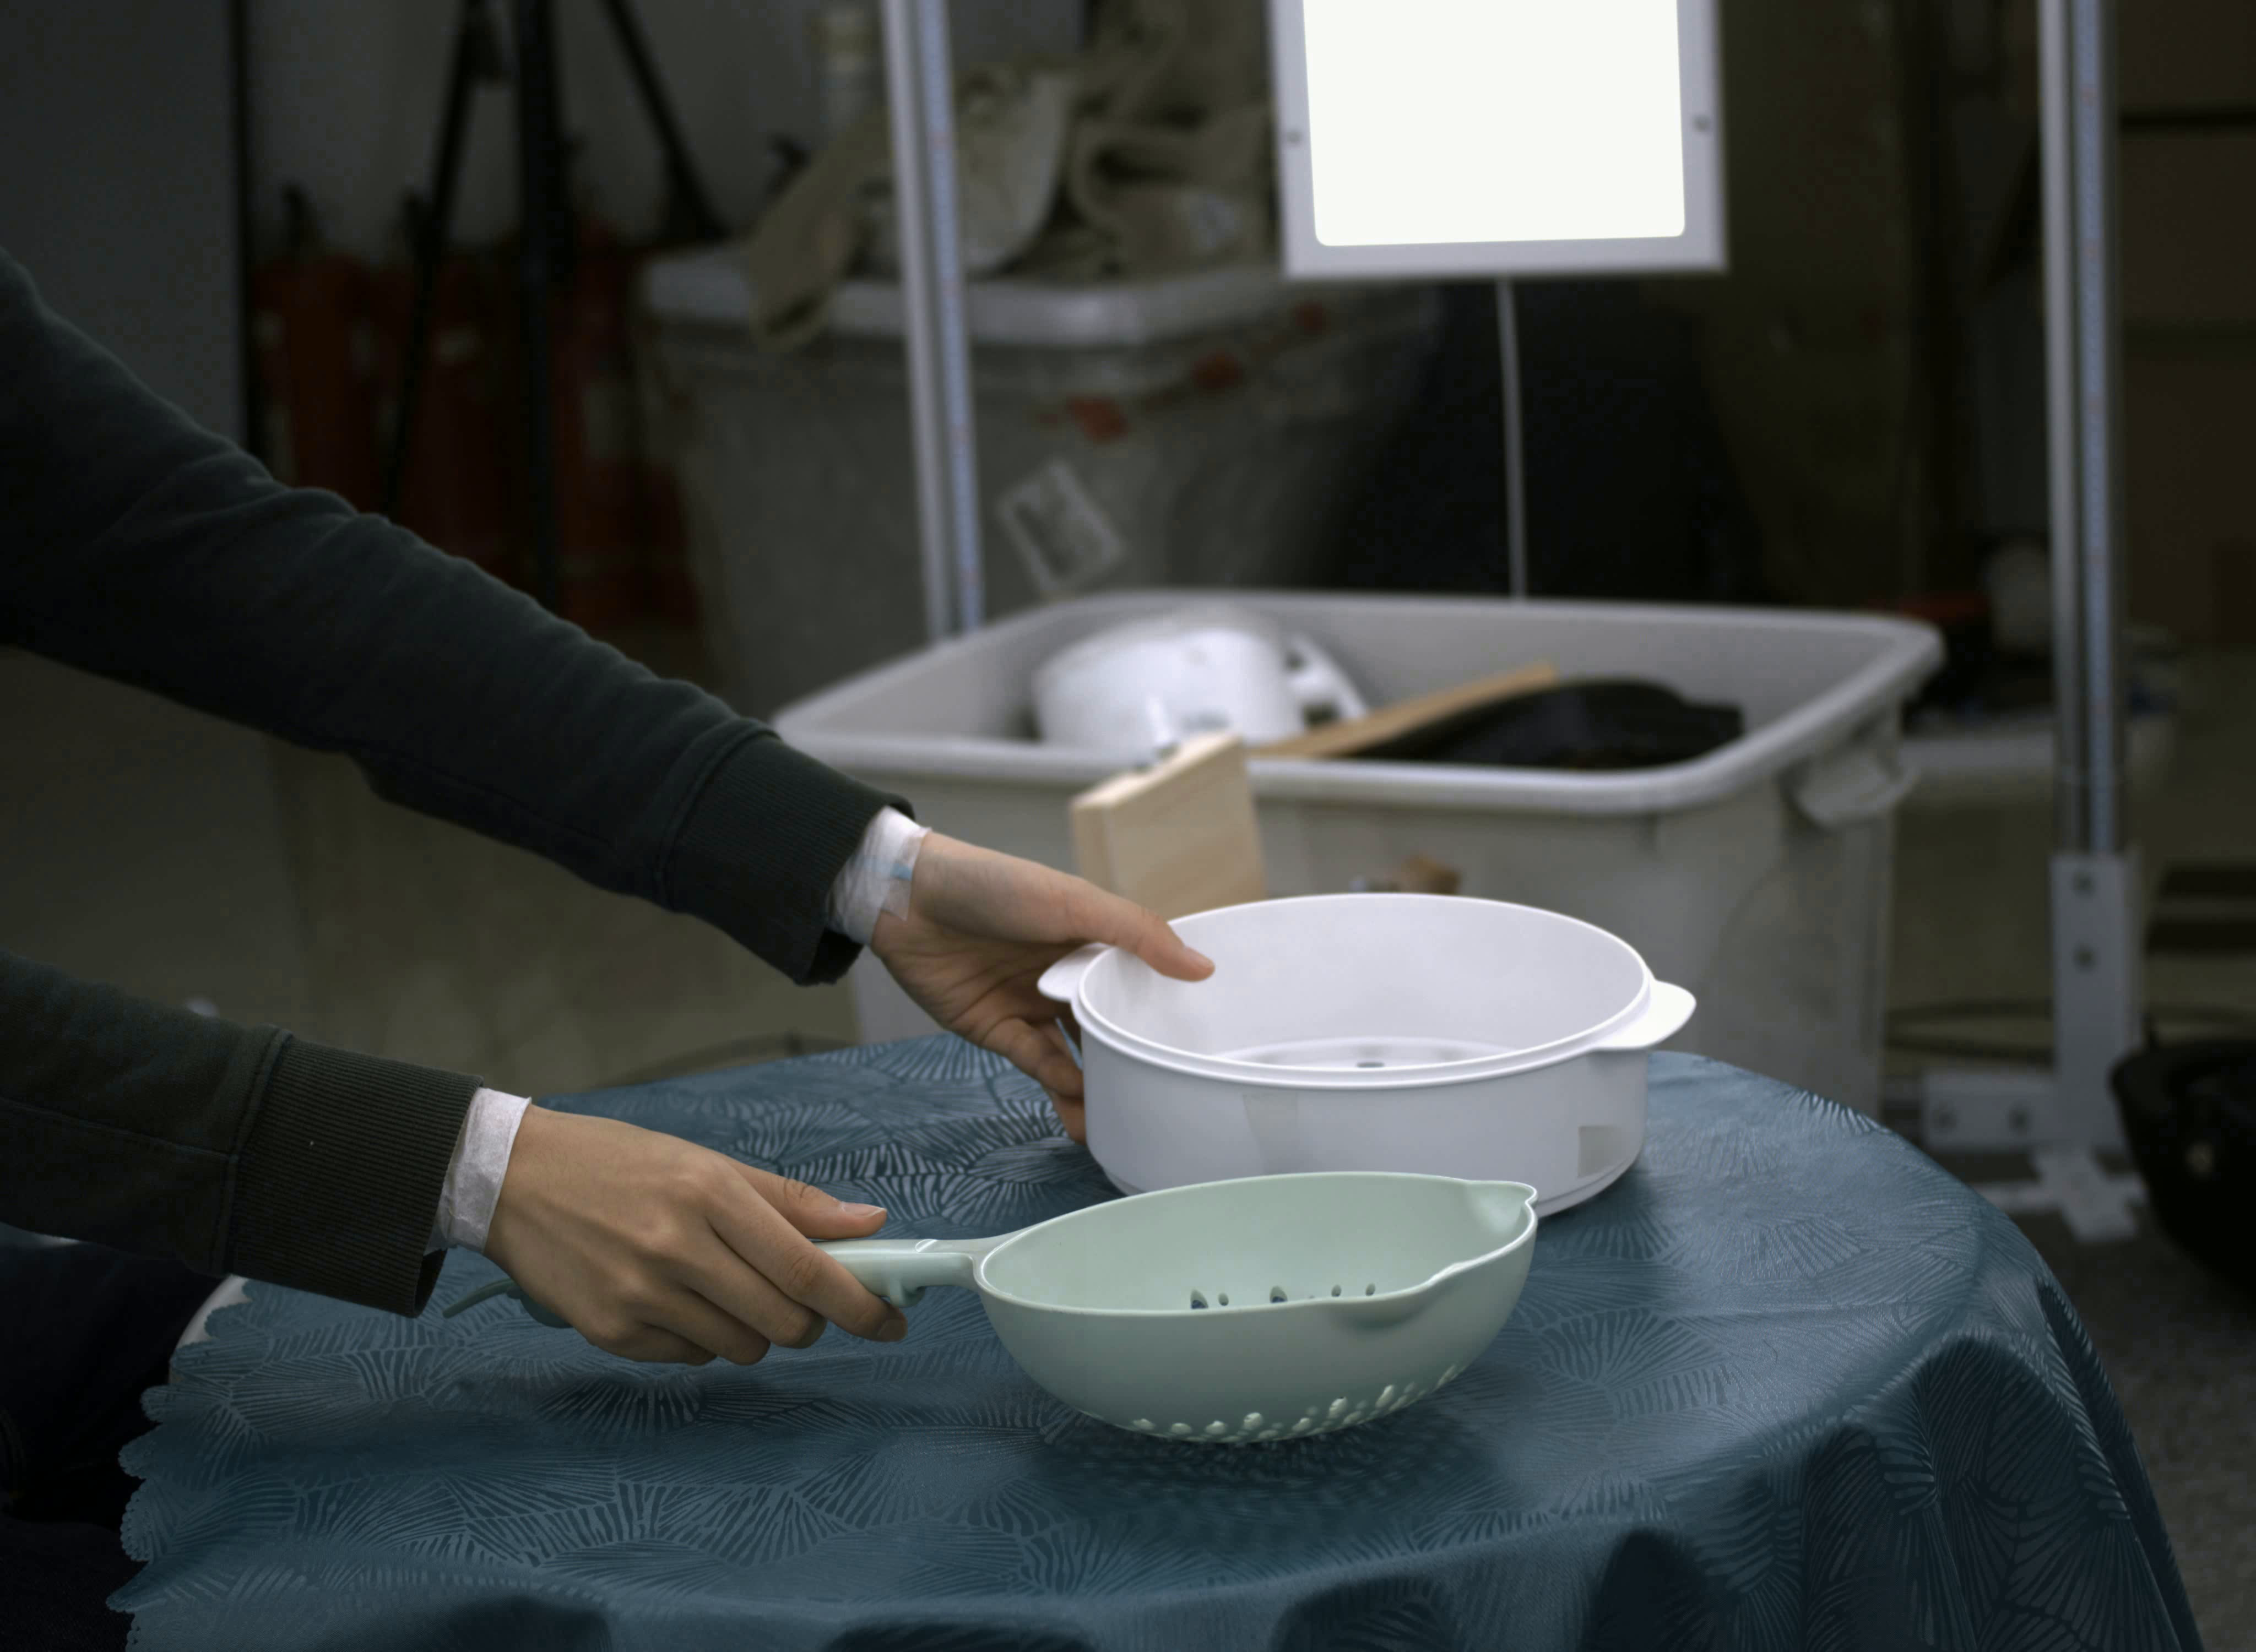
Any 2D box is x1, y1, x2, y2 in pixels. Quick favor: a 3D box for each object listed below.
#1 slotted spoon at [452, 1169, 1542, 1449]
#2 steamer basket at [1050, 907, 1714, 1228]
[{"bbox_3d":[-0.049,0.141,1.694,0.364,0.076,0.166,6,12,23],"label":"slotted spoon"},{"bbox_3d":[0.086,0.085,1.886,0.234,0.069,0.198,4,16,21],"label":"steamer basket"}]
